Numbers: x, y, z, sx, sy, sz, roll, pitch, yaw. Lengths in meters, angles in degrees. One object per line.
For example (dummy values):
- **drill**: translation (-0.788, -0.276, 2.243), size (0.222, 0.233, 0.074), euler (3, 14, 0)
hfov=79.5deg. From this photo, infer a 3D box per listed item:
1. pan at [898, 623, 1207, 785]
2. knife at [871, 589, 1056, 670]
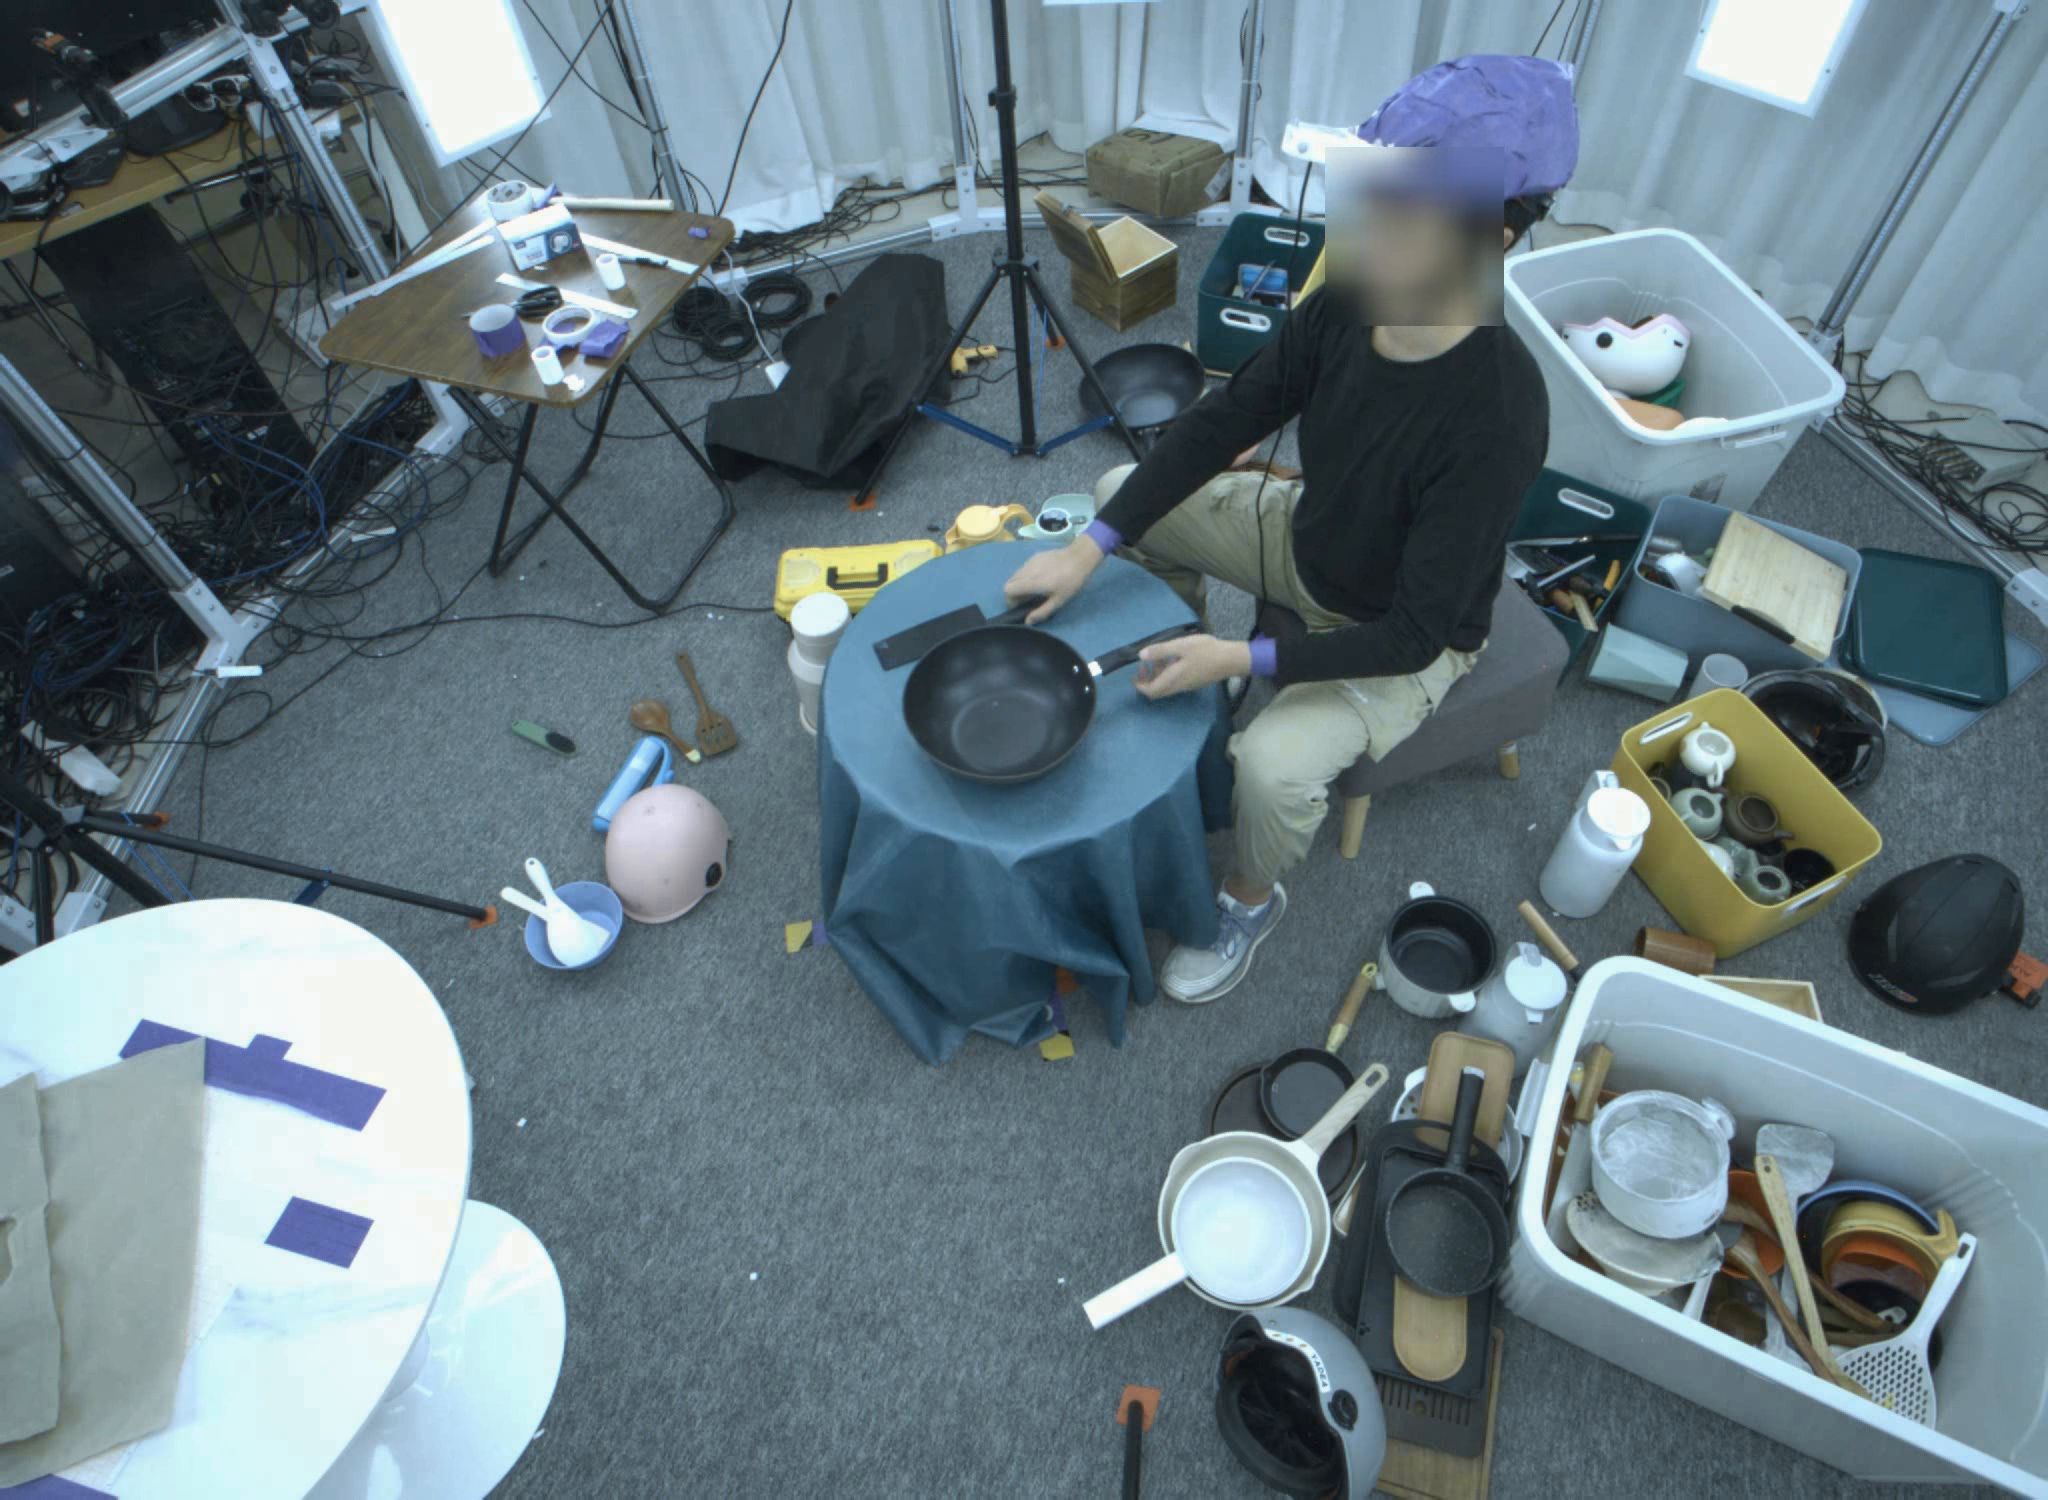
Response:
- **pan**: translation (0.048, -0.083, 1.790), size (0.467, 0.088, 0.283), euler (-19, 56, -12)
- **knife**: translation (-0.092, -0.196, 1.918), size (0.304, 0.021, 0.079), euler (-18, 56, -8)
